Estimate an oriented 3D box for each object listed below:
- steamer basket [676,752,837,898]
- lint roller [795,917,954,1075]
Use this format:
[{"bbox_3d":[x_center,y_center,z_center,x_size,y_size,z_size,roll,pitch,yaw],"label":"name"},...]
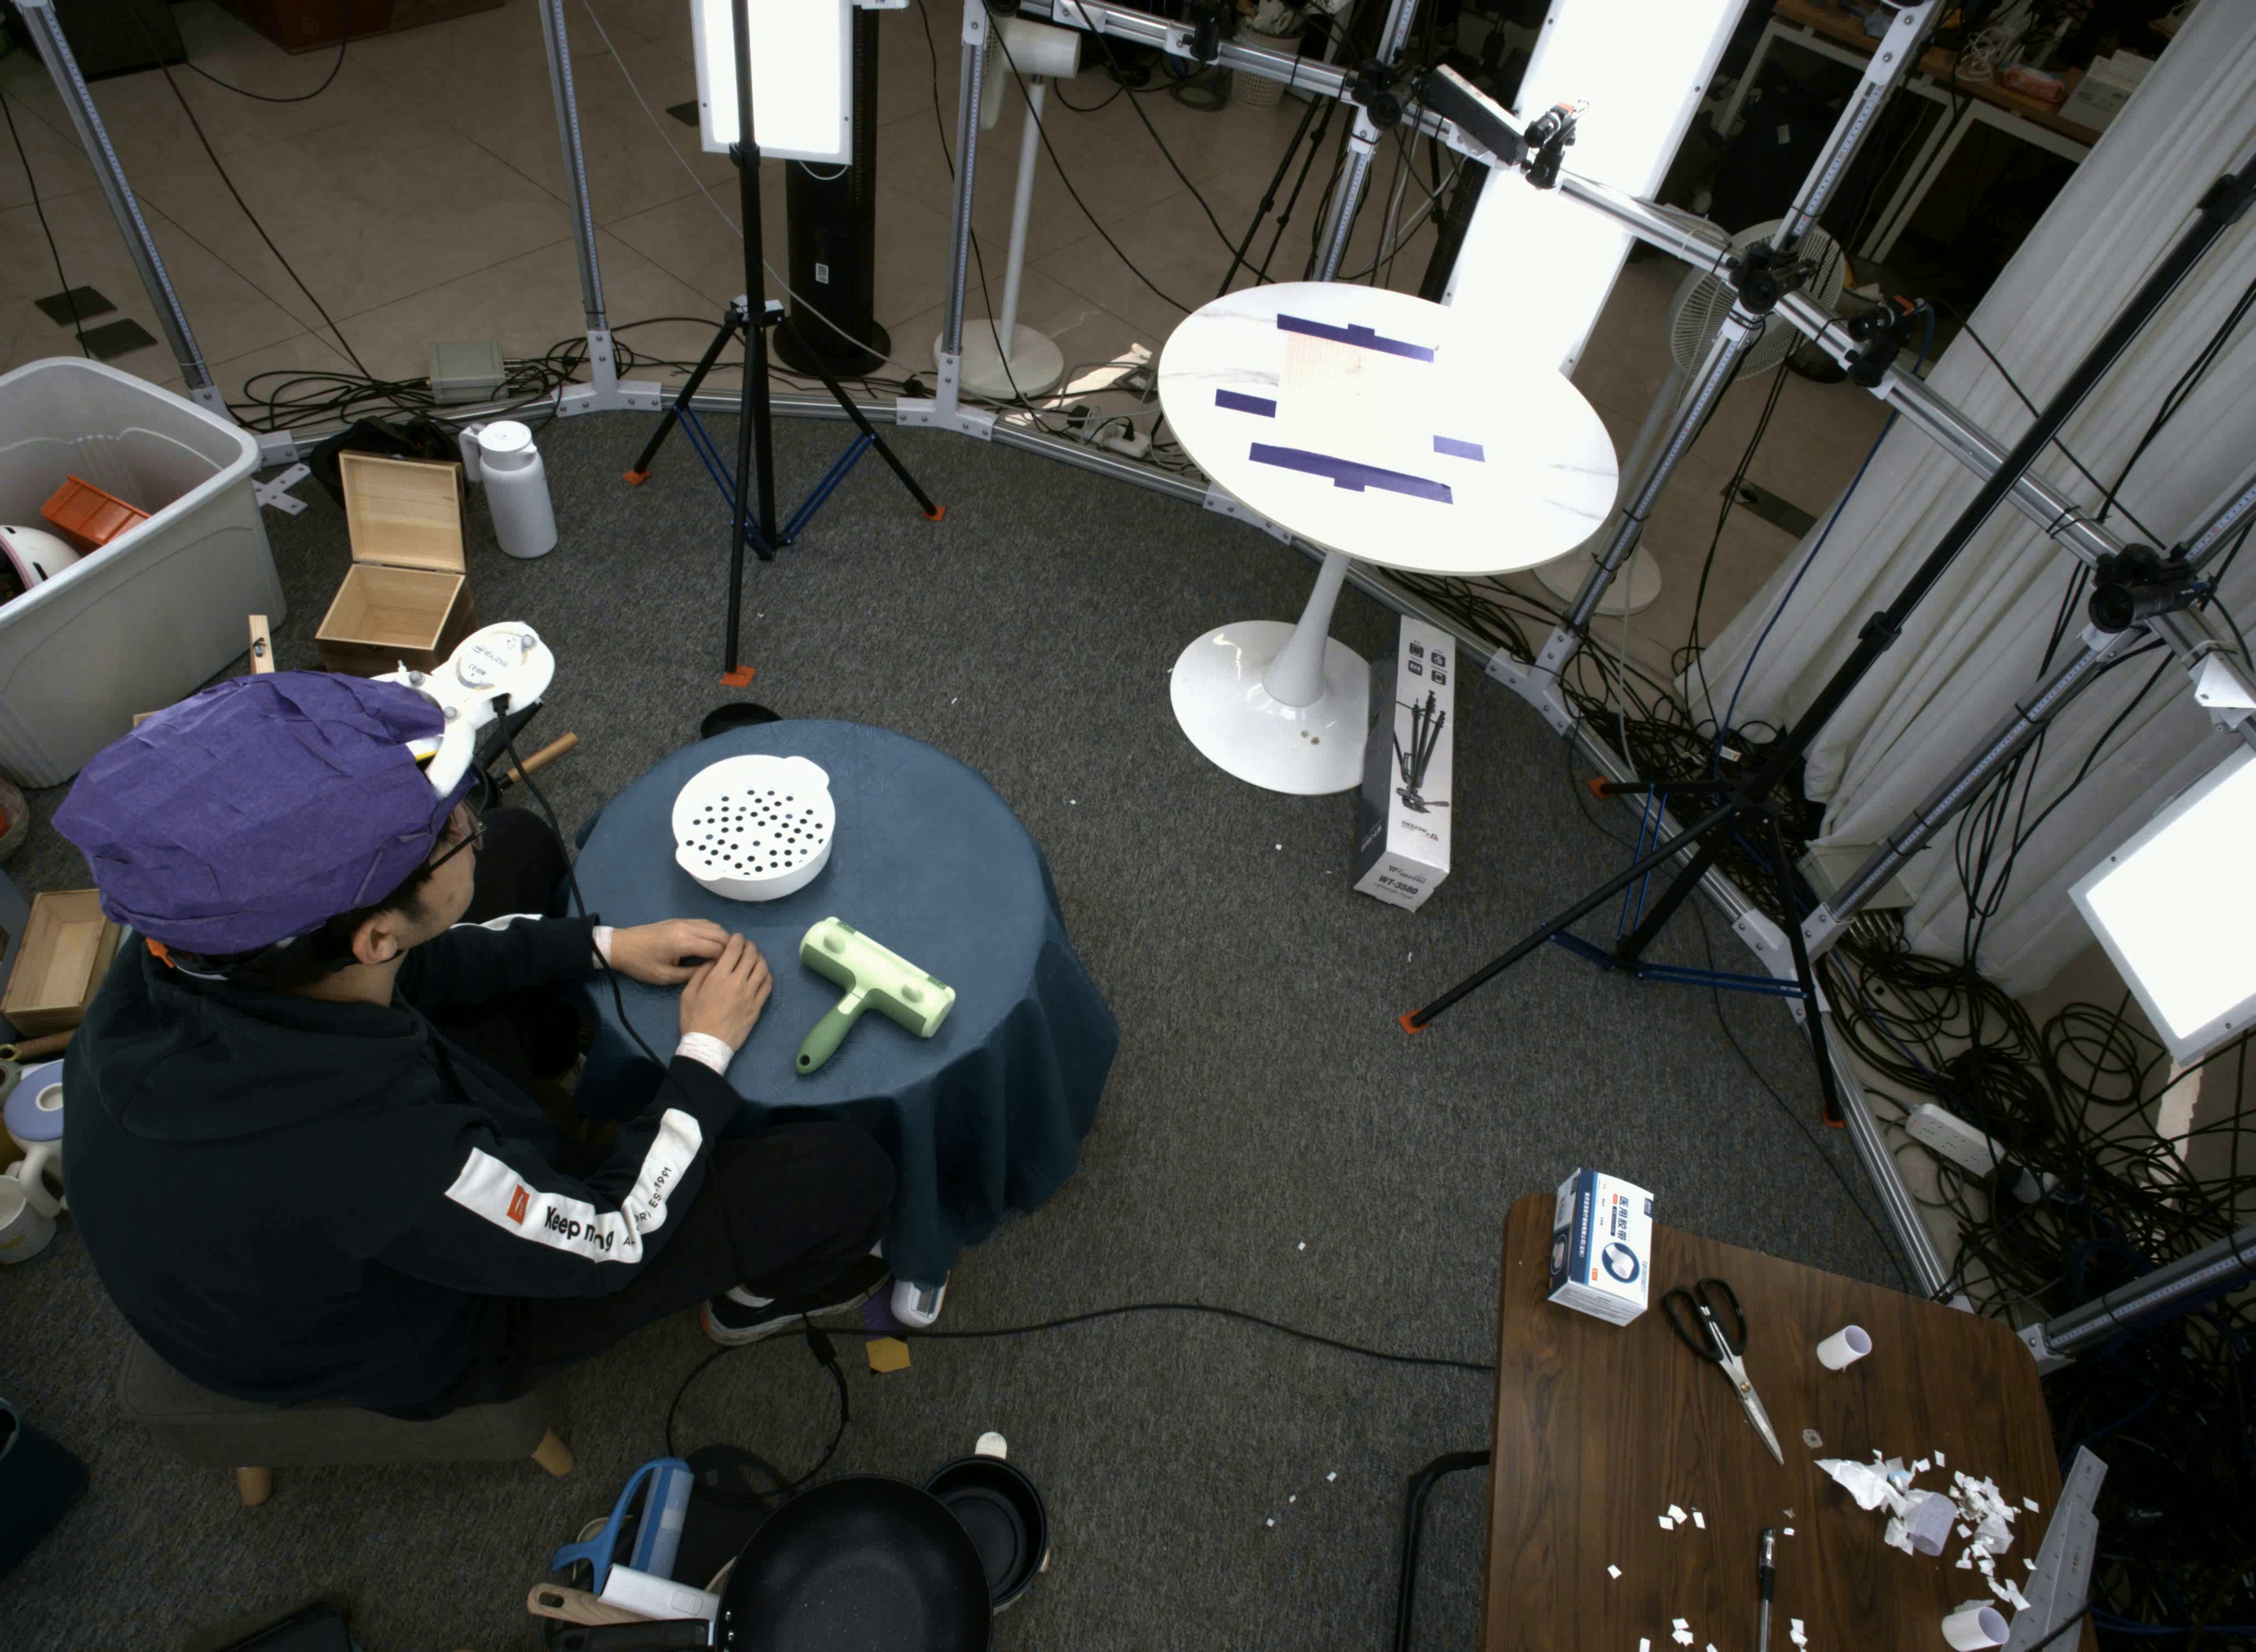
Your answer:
[{"bbox_3d":[-0.479,-0.001,1.672,0.198,0.070,0.230,33,51,10],"label":"steamer basket"},{"bbox_3d":[-0.335,0.211,1.548,0.195,0.084,0.183,31,48,9],"label":"lint roller"}]
